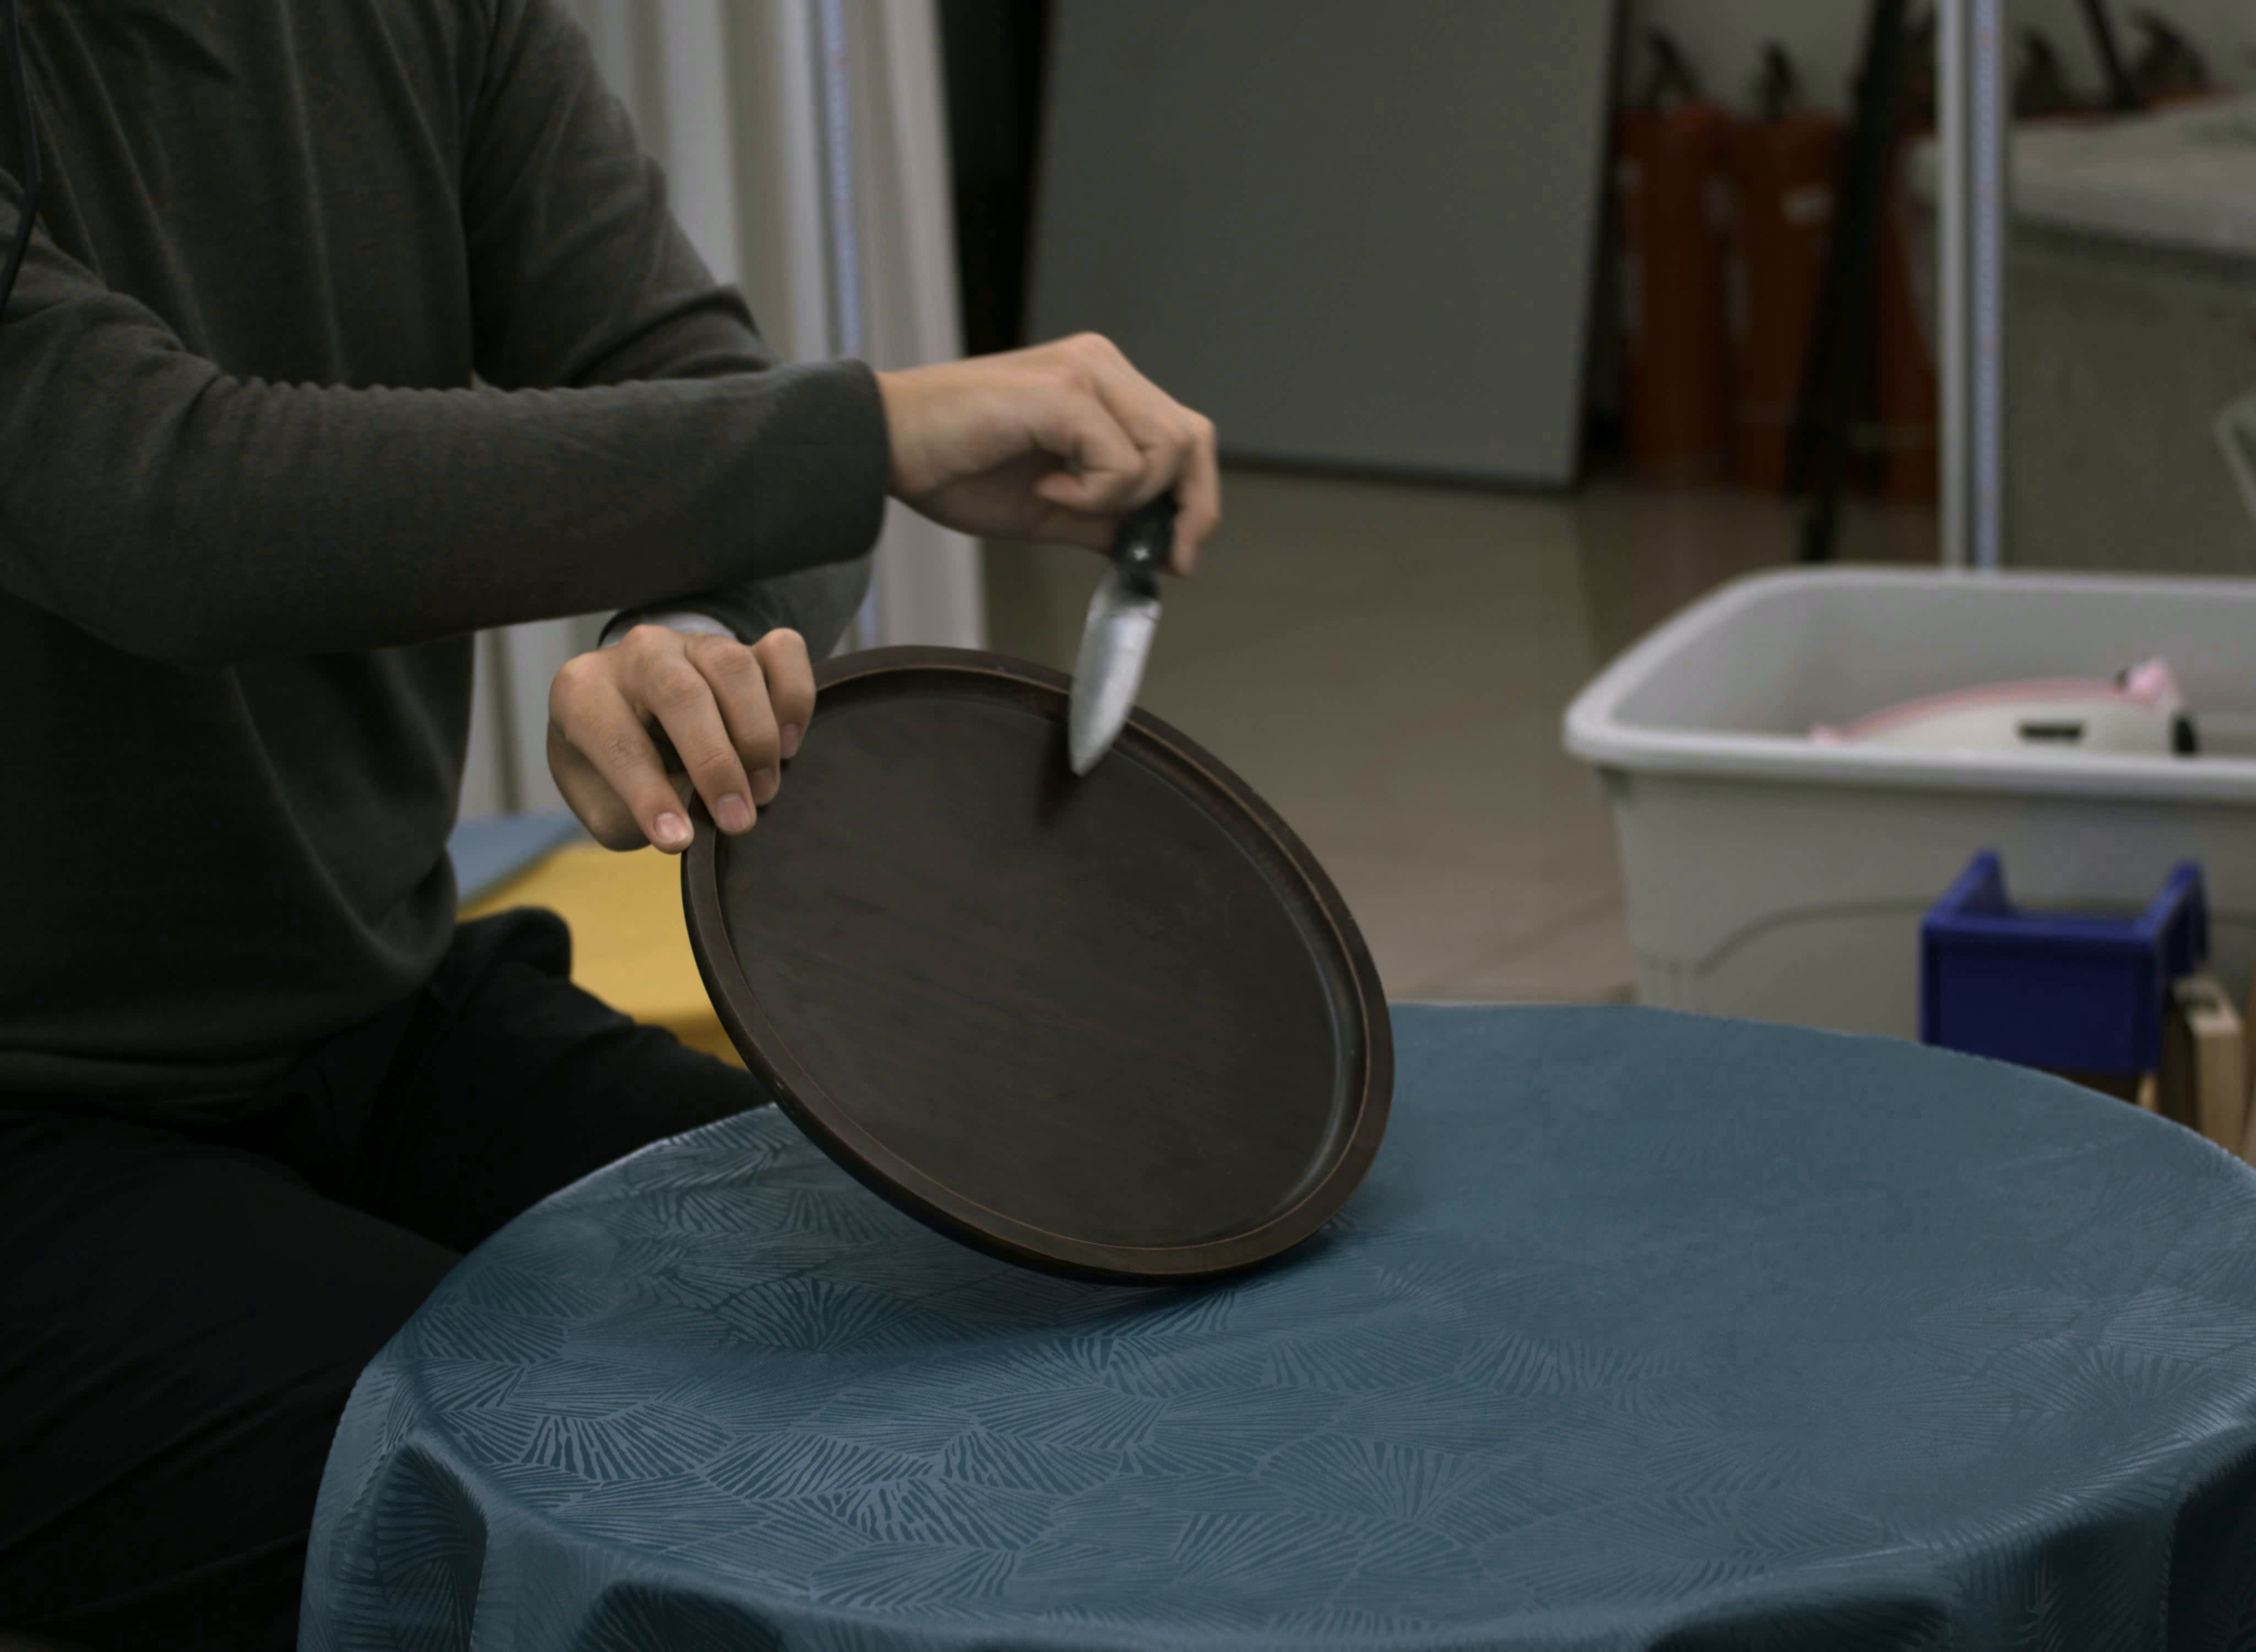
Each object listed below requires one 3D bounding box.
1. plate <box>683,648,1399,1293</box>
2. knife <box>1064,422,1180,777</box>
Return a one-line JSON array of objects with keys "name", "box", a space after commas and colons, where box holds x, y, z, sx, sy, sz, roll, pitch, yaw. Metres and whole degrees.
[{"name": "plate", "box": [-0.028, 0.045, 1.731, 0.250, 0.029, 0.257, 18, 43, -19]}, {"name": "knife", "box": [-0.005, -0.080, 1.864, 0.024, 0.016, 0.238, 33, 31, -12]}]
